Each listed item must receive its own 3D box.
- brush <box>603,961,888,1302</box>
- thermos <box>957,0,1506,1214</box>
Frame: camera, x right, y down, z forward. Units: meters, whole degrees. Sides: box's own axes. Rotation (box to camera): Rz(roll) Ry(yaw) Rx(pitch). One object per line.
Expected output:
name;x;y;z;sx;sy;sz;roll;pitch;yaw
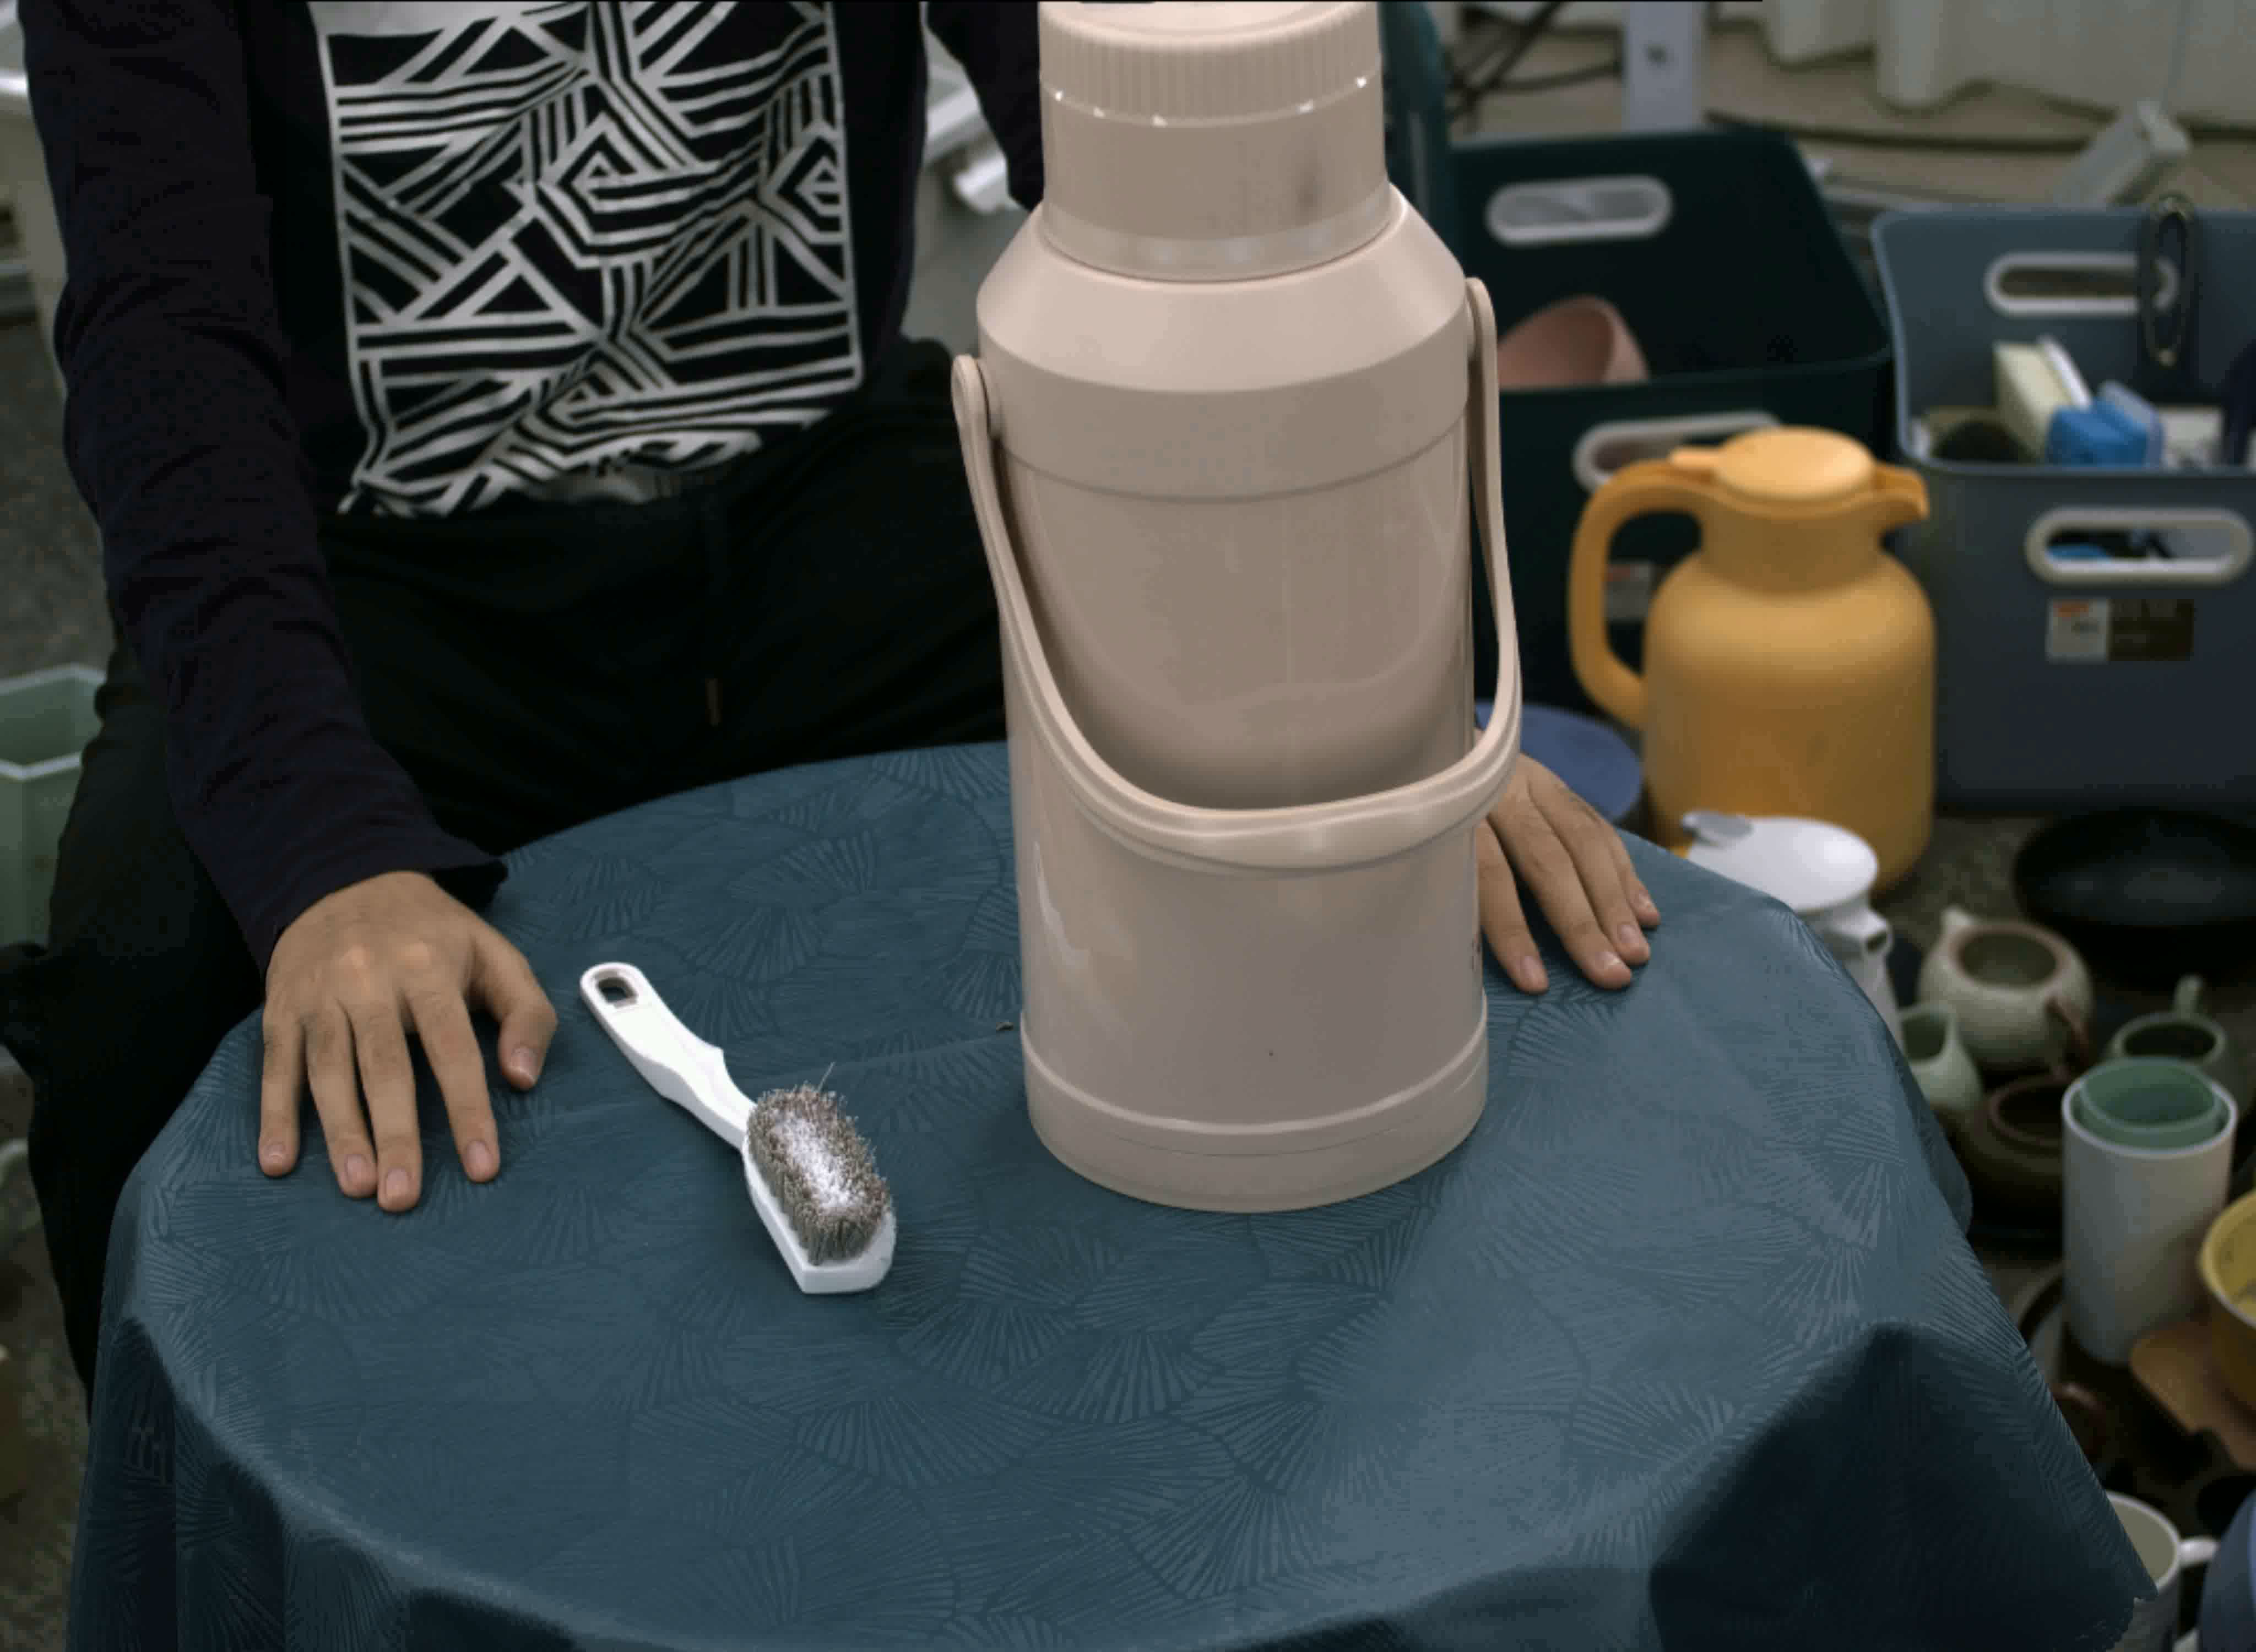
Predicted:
brush;-0.135;0.085;1.891;0.034;0.049;0.245;-17;30;-16
thermos;0.034;-0.091;1.840;0.175;0.402;0.209;-11;27;-13
